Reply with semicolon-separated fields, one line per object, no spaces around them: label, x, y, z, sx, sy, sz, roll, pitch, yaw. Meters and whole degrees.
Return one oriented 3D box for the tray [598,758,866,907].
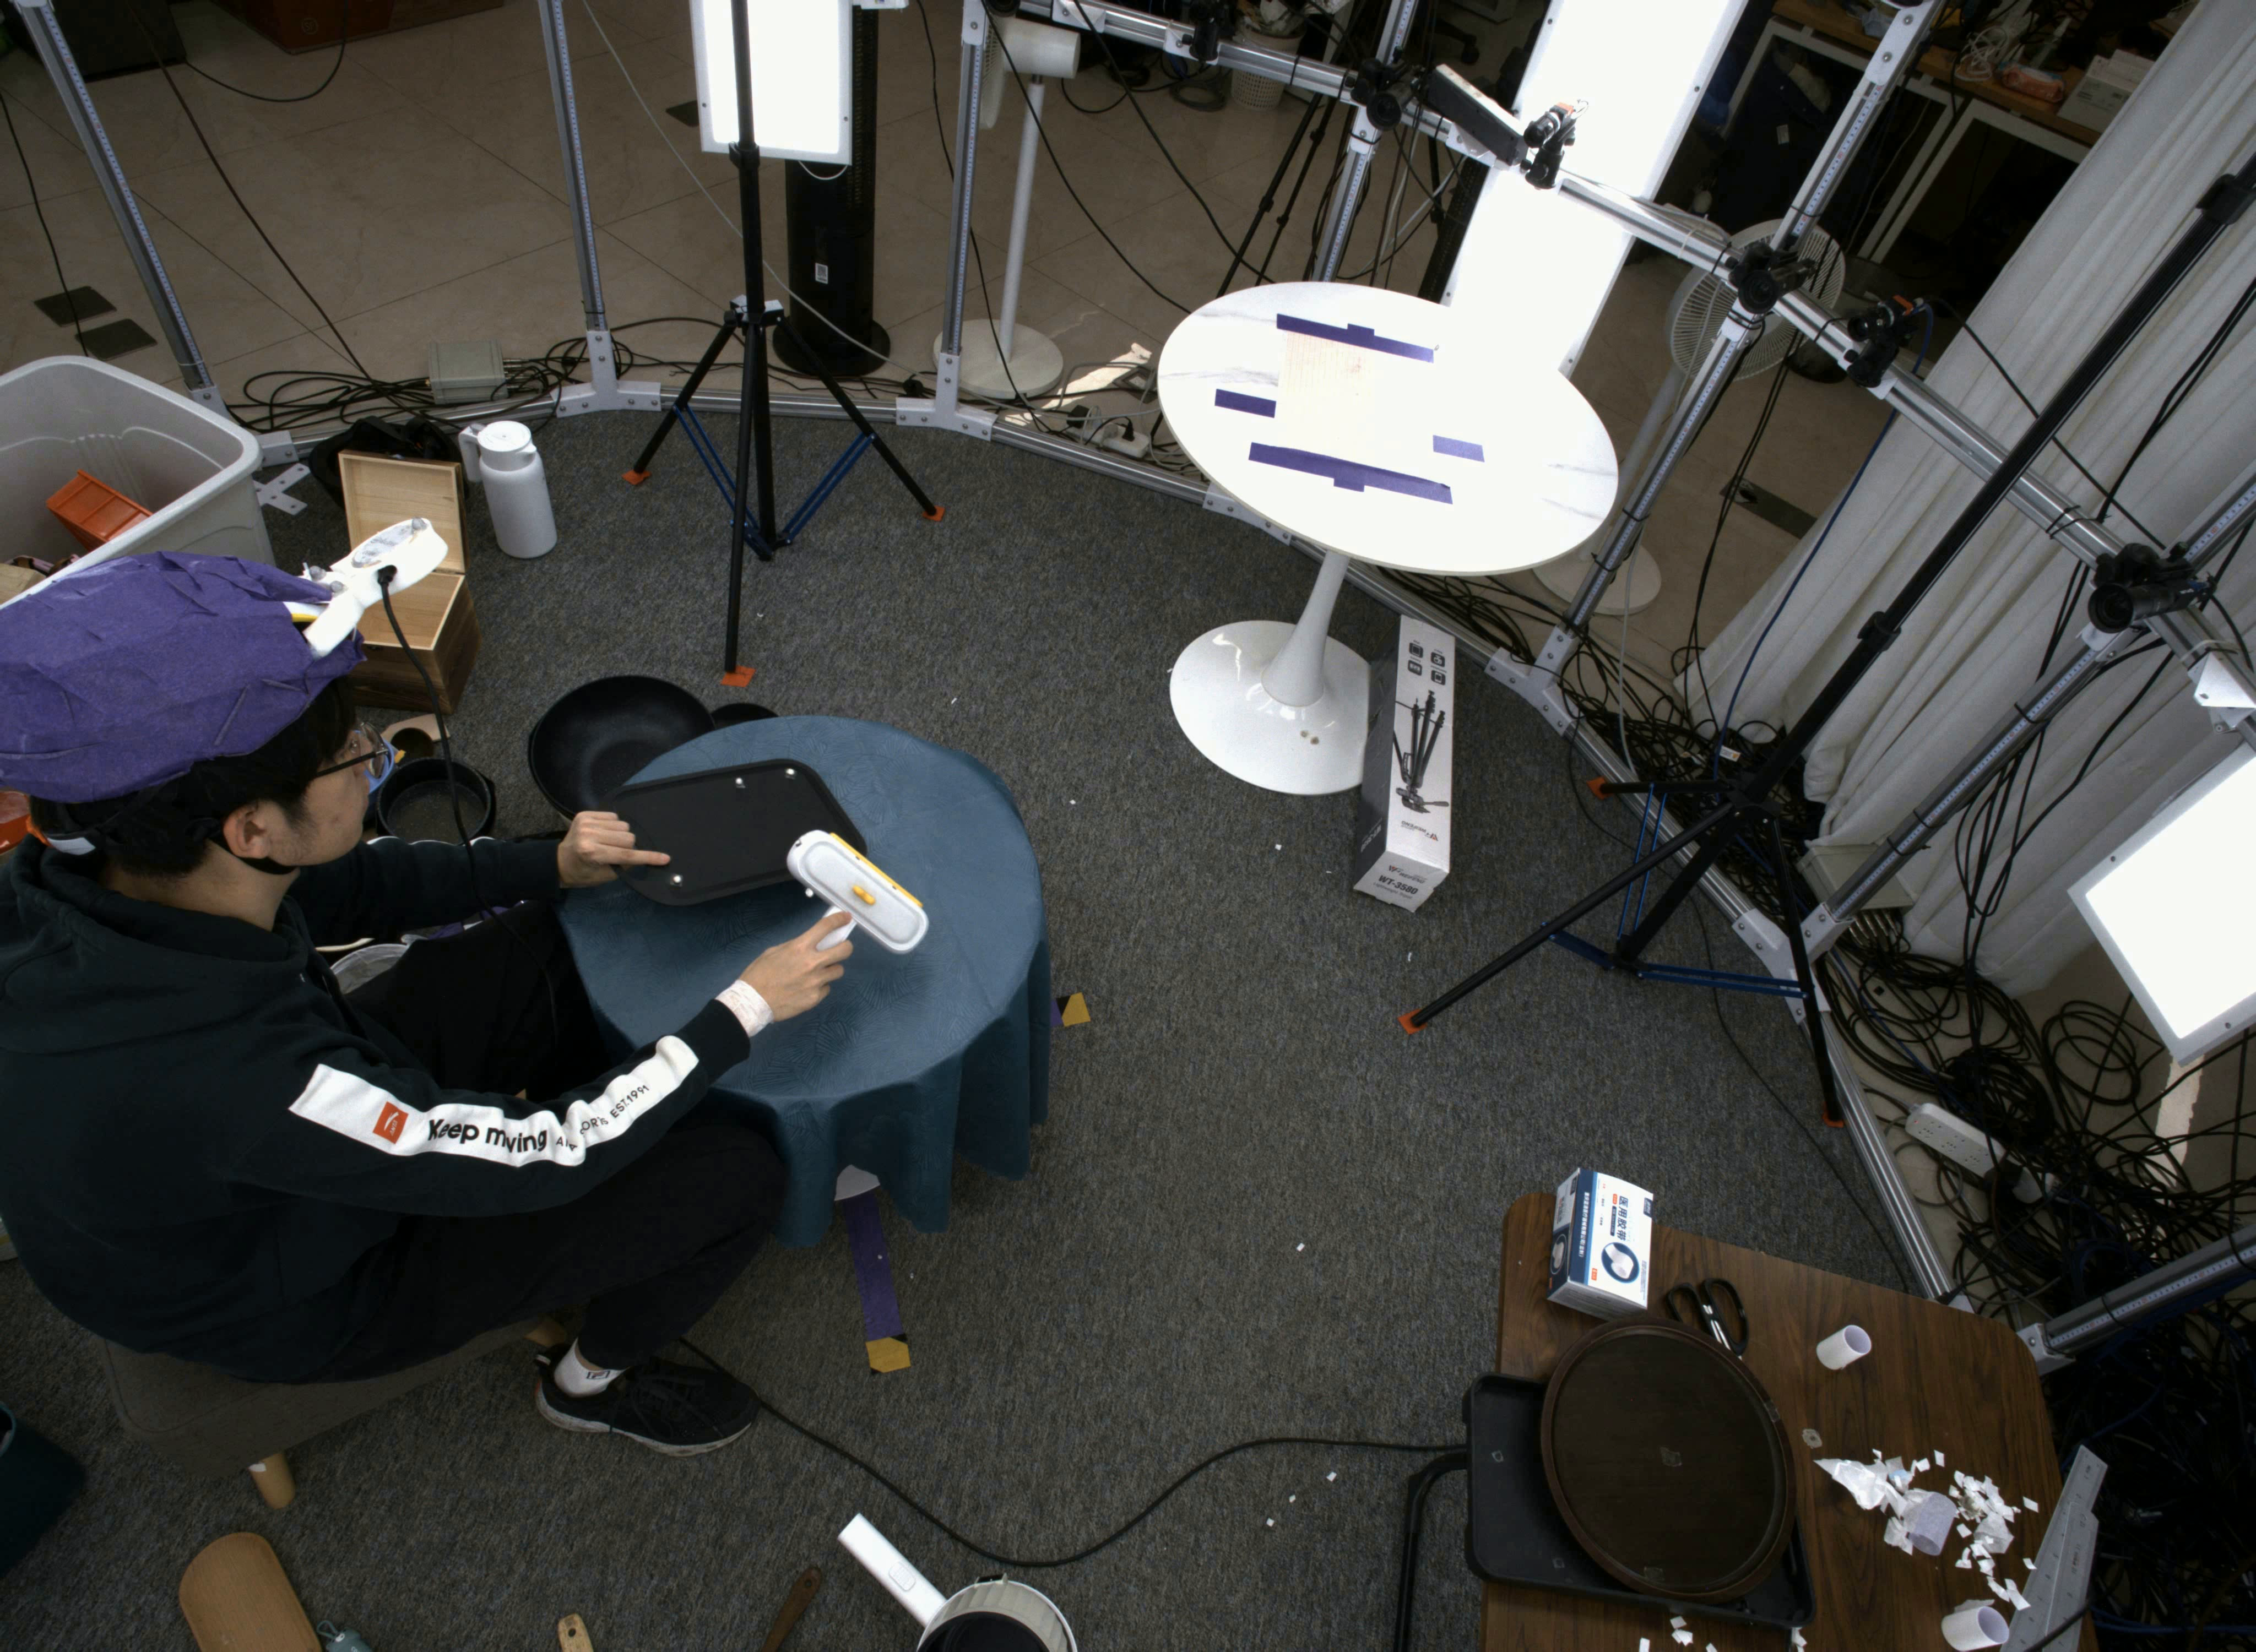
tray;-0.503;0.001;1.628;0.329;0.010;0.205;-15;56;-42

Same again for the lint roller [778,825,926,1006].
lint roller;-0.353;0.122;1.537;0.198;0.072;0.192;39;69;-26
